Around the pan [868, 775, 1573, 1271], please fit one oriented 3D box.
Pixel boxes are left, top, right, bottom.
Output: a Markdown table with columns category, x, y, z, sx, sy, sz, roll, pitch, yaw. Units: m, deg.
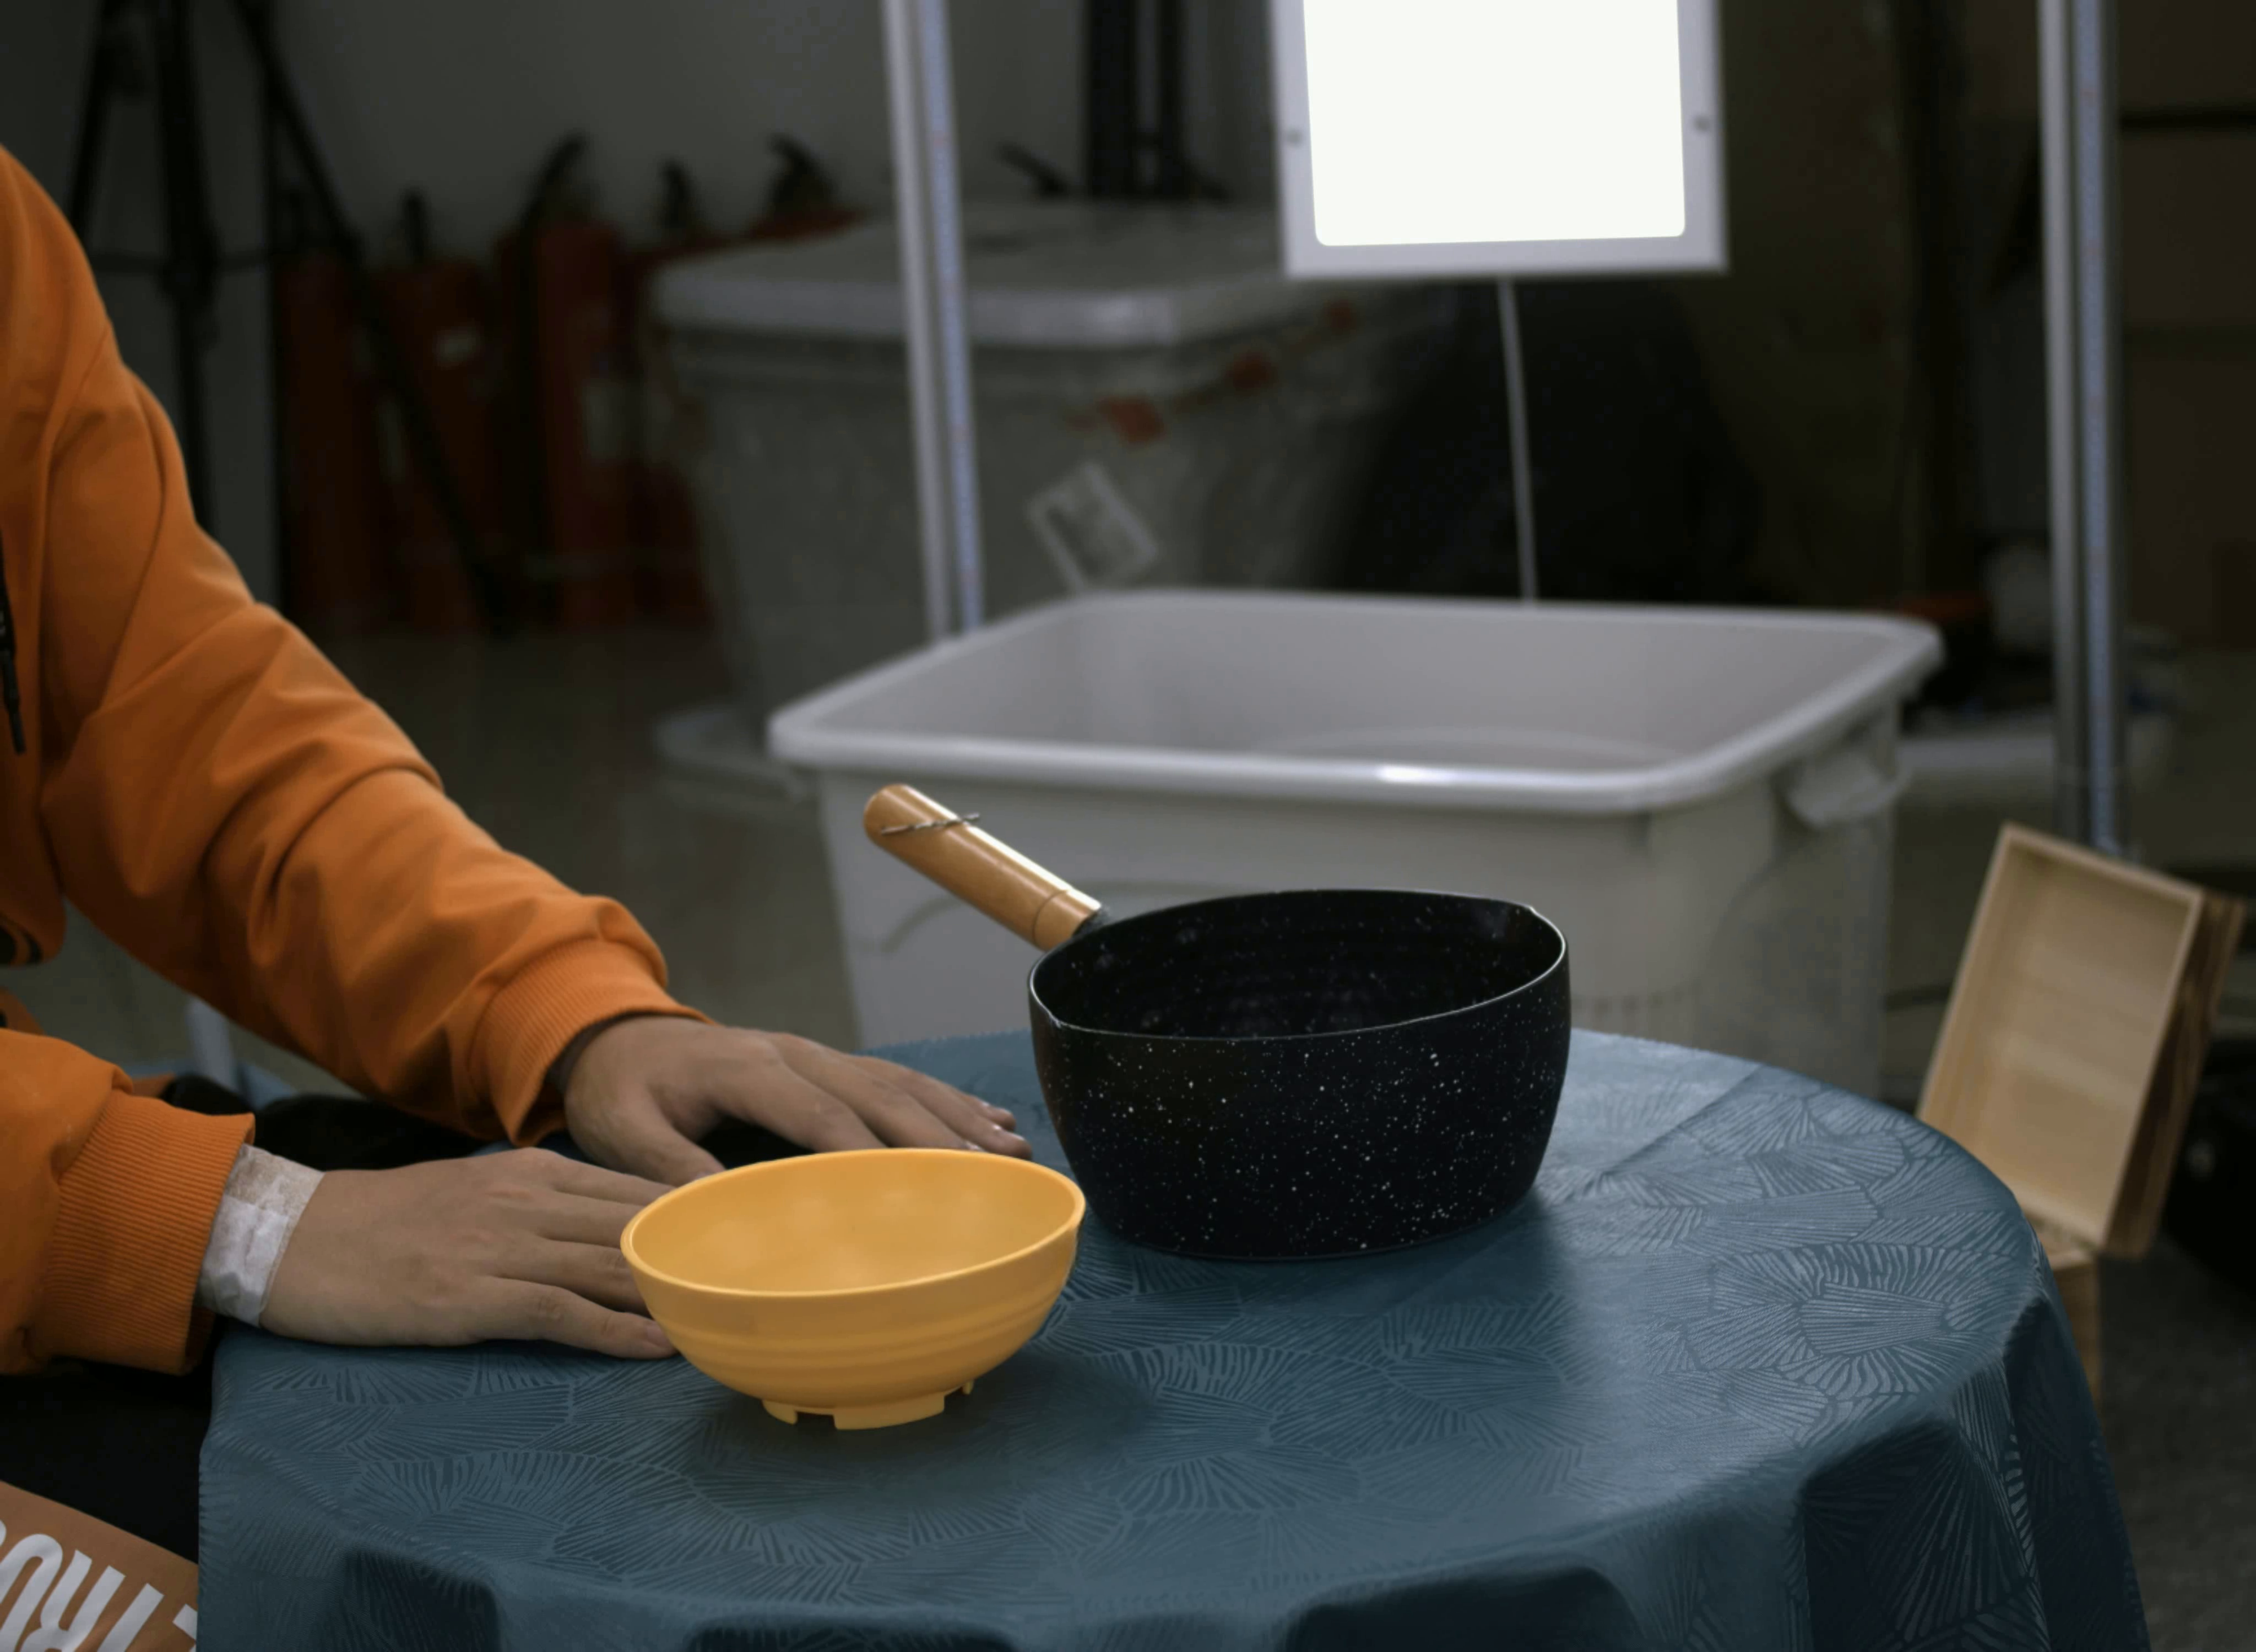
| category | x | y | z | sx | sy | sz | roll | pitch | yaw |
| --- | --- | --- | --- | --- | --- | --- | --- | --- | --- |
| pan | 0.012 | 0.062 | 1.927 | 0.202 | 0.108 | 0.350 | -16 | 19 | -33 |

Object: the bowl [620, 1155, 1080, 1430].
| category | x | y | z | sx | sy | sz | roll | pitch | yaw |
| --- | --- | --- | --- | --- | --- | --- | --- | --- | --- |
| bowl | -0.084 | 0.149 | 1.713 | 0.145 | 0.060 | 0.145 | -5 | 13 | 0 |
